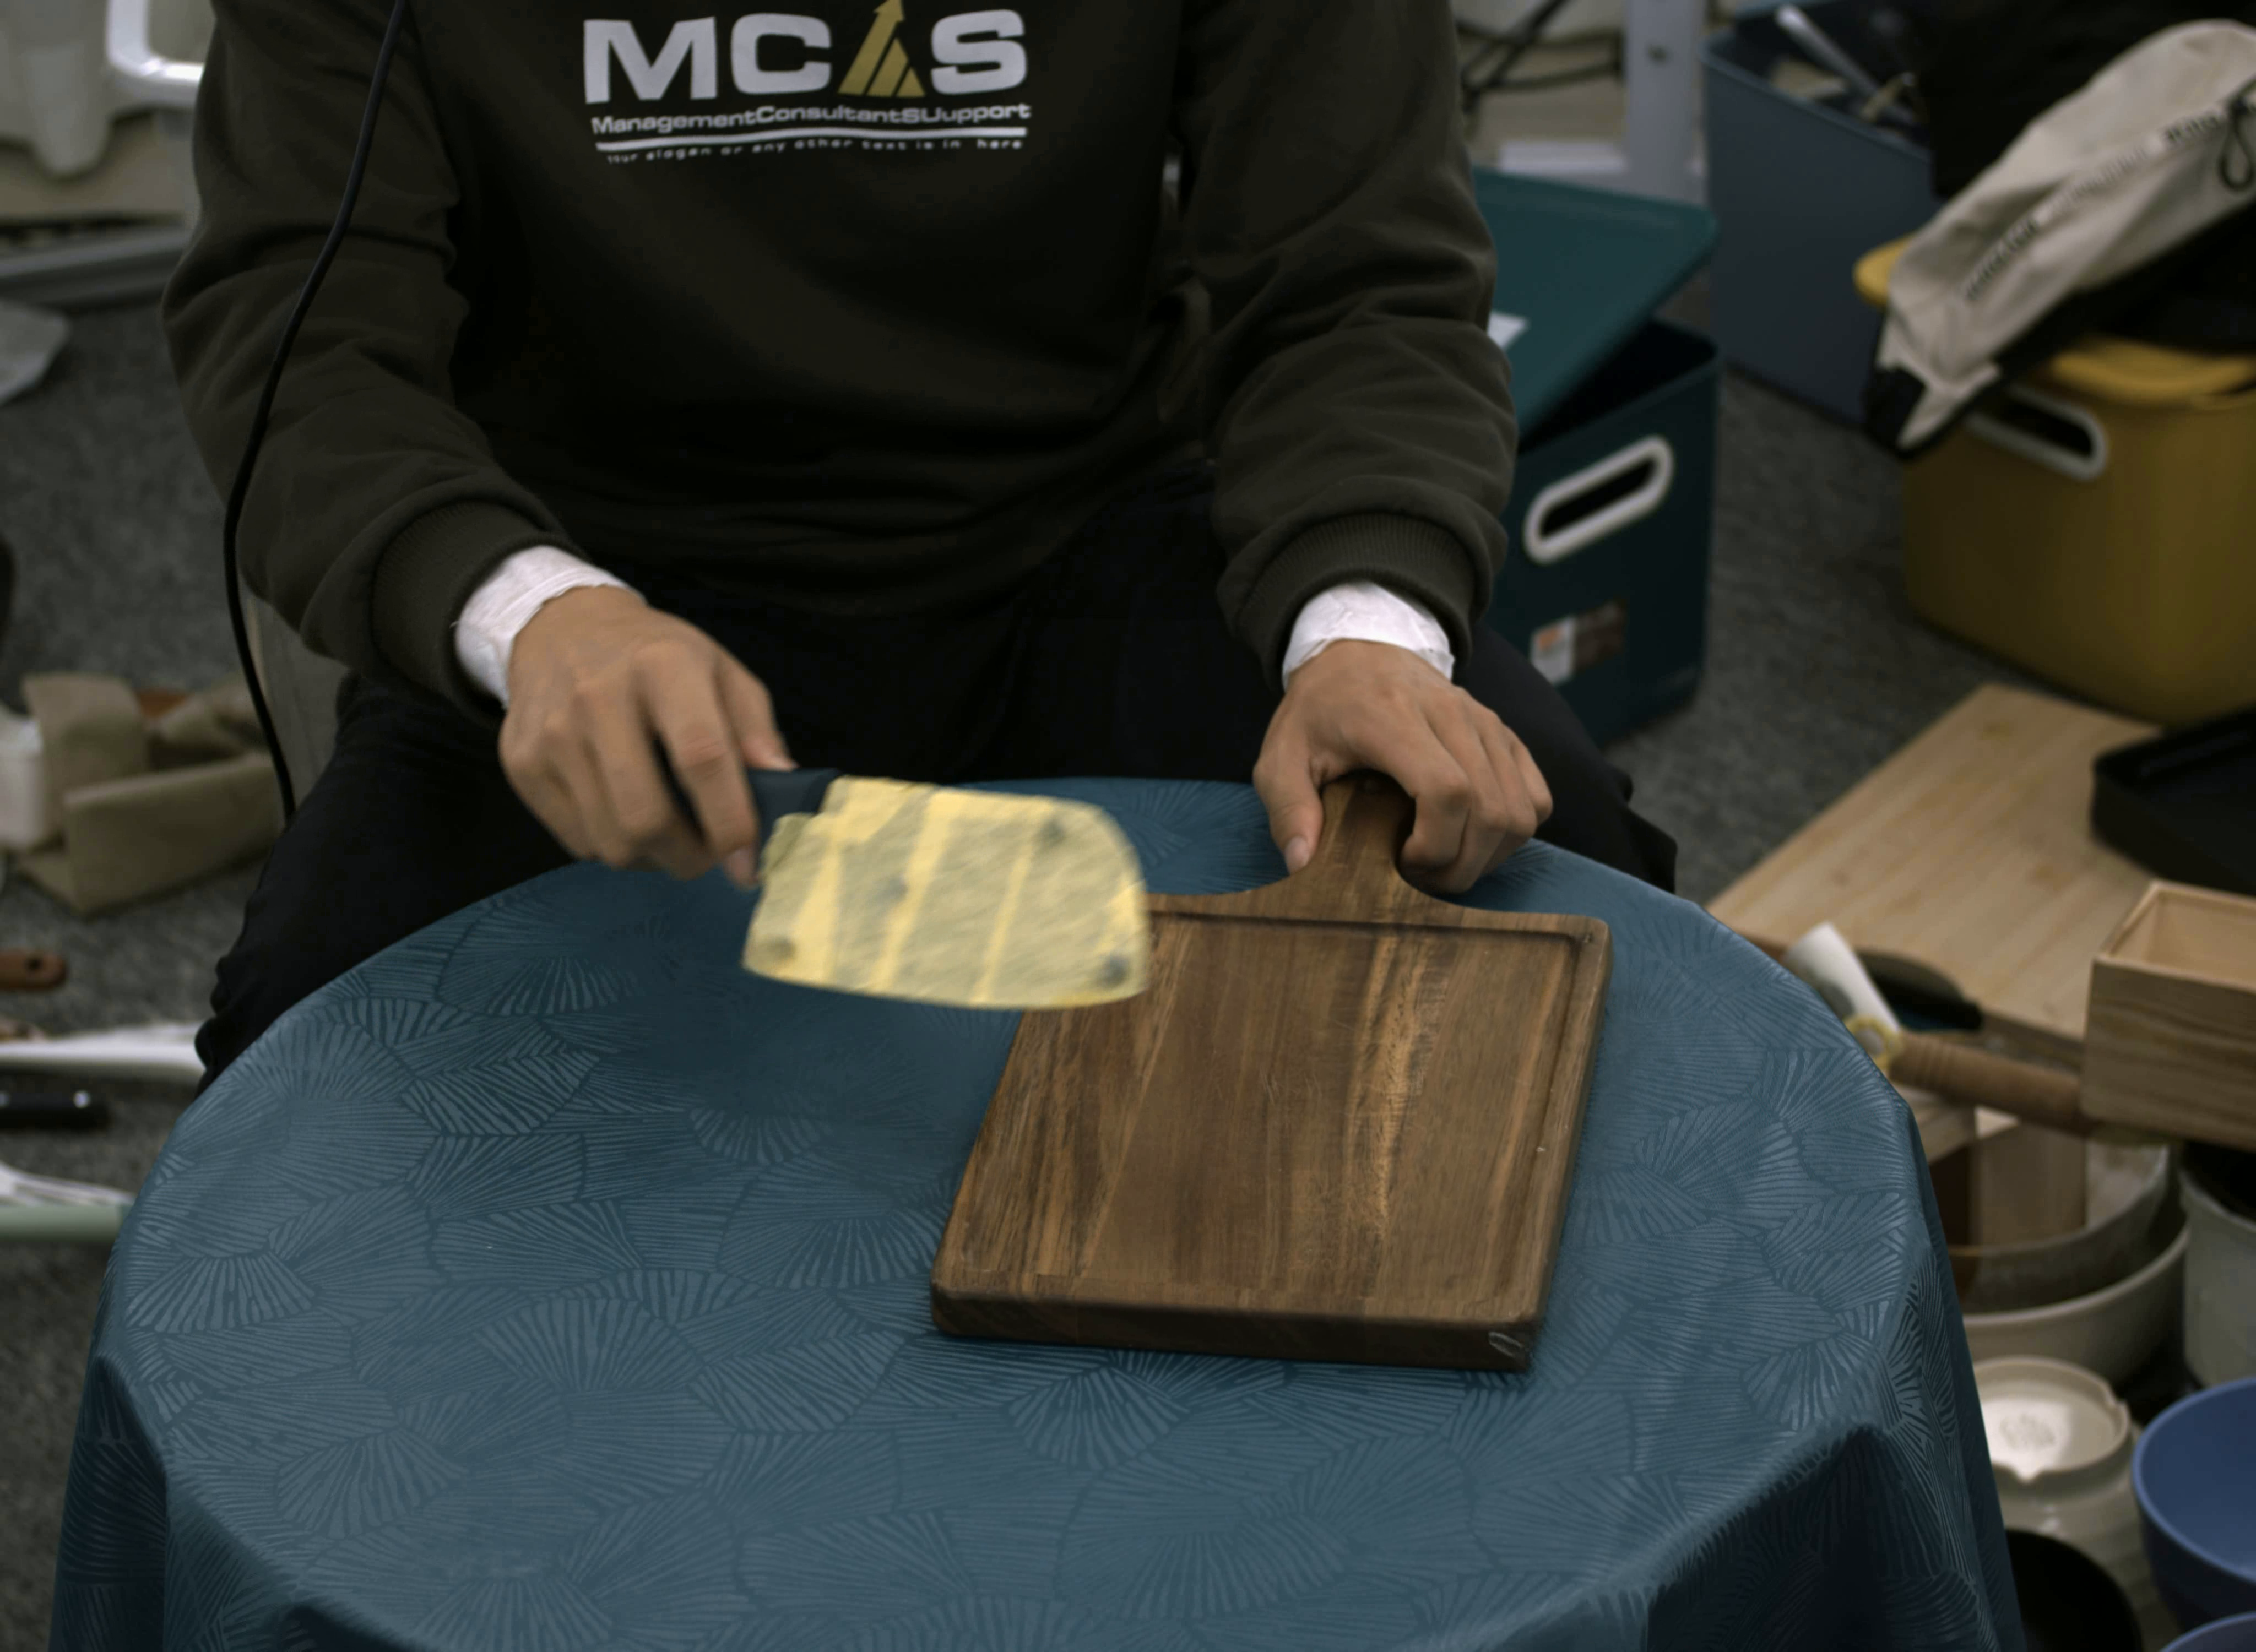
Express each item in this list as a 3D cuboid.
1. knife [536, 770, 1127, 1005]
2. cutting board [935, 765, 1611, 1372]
[{"bbox_3d":[-0.103,0.019,1.869,0.287,0.027,0.082,9,70,44],"label":"knife"},{"bbox_3d":[0.061,0.073,1.914,0.200,0.023,0.358,3,30,9],"label":"cutting board"}]
